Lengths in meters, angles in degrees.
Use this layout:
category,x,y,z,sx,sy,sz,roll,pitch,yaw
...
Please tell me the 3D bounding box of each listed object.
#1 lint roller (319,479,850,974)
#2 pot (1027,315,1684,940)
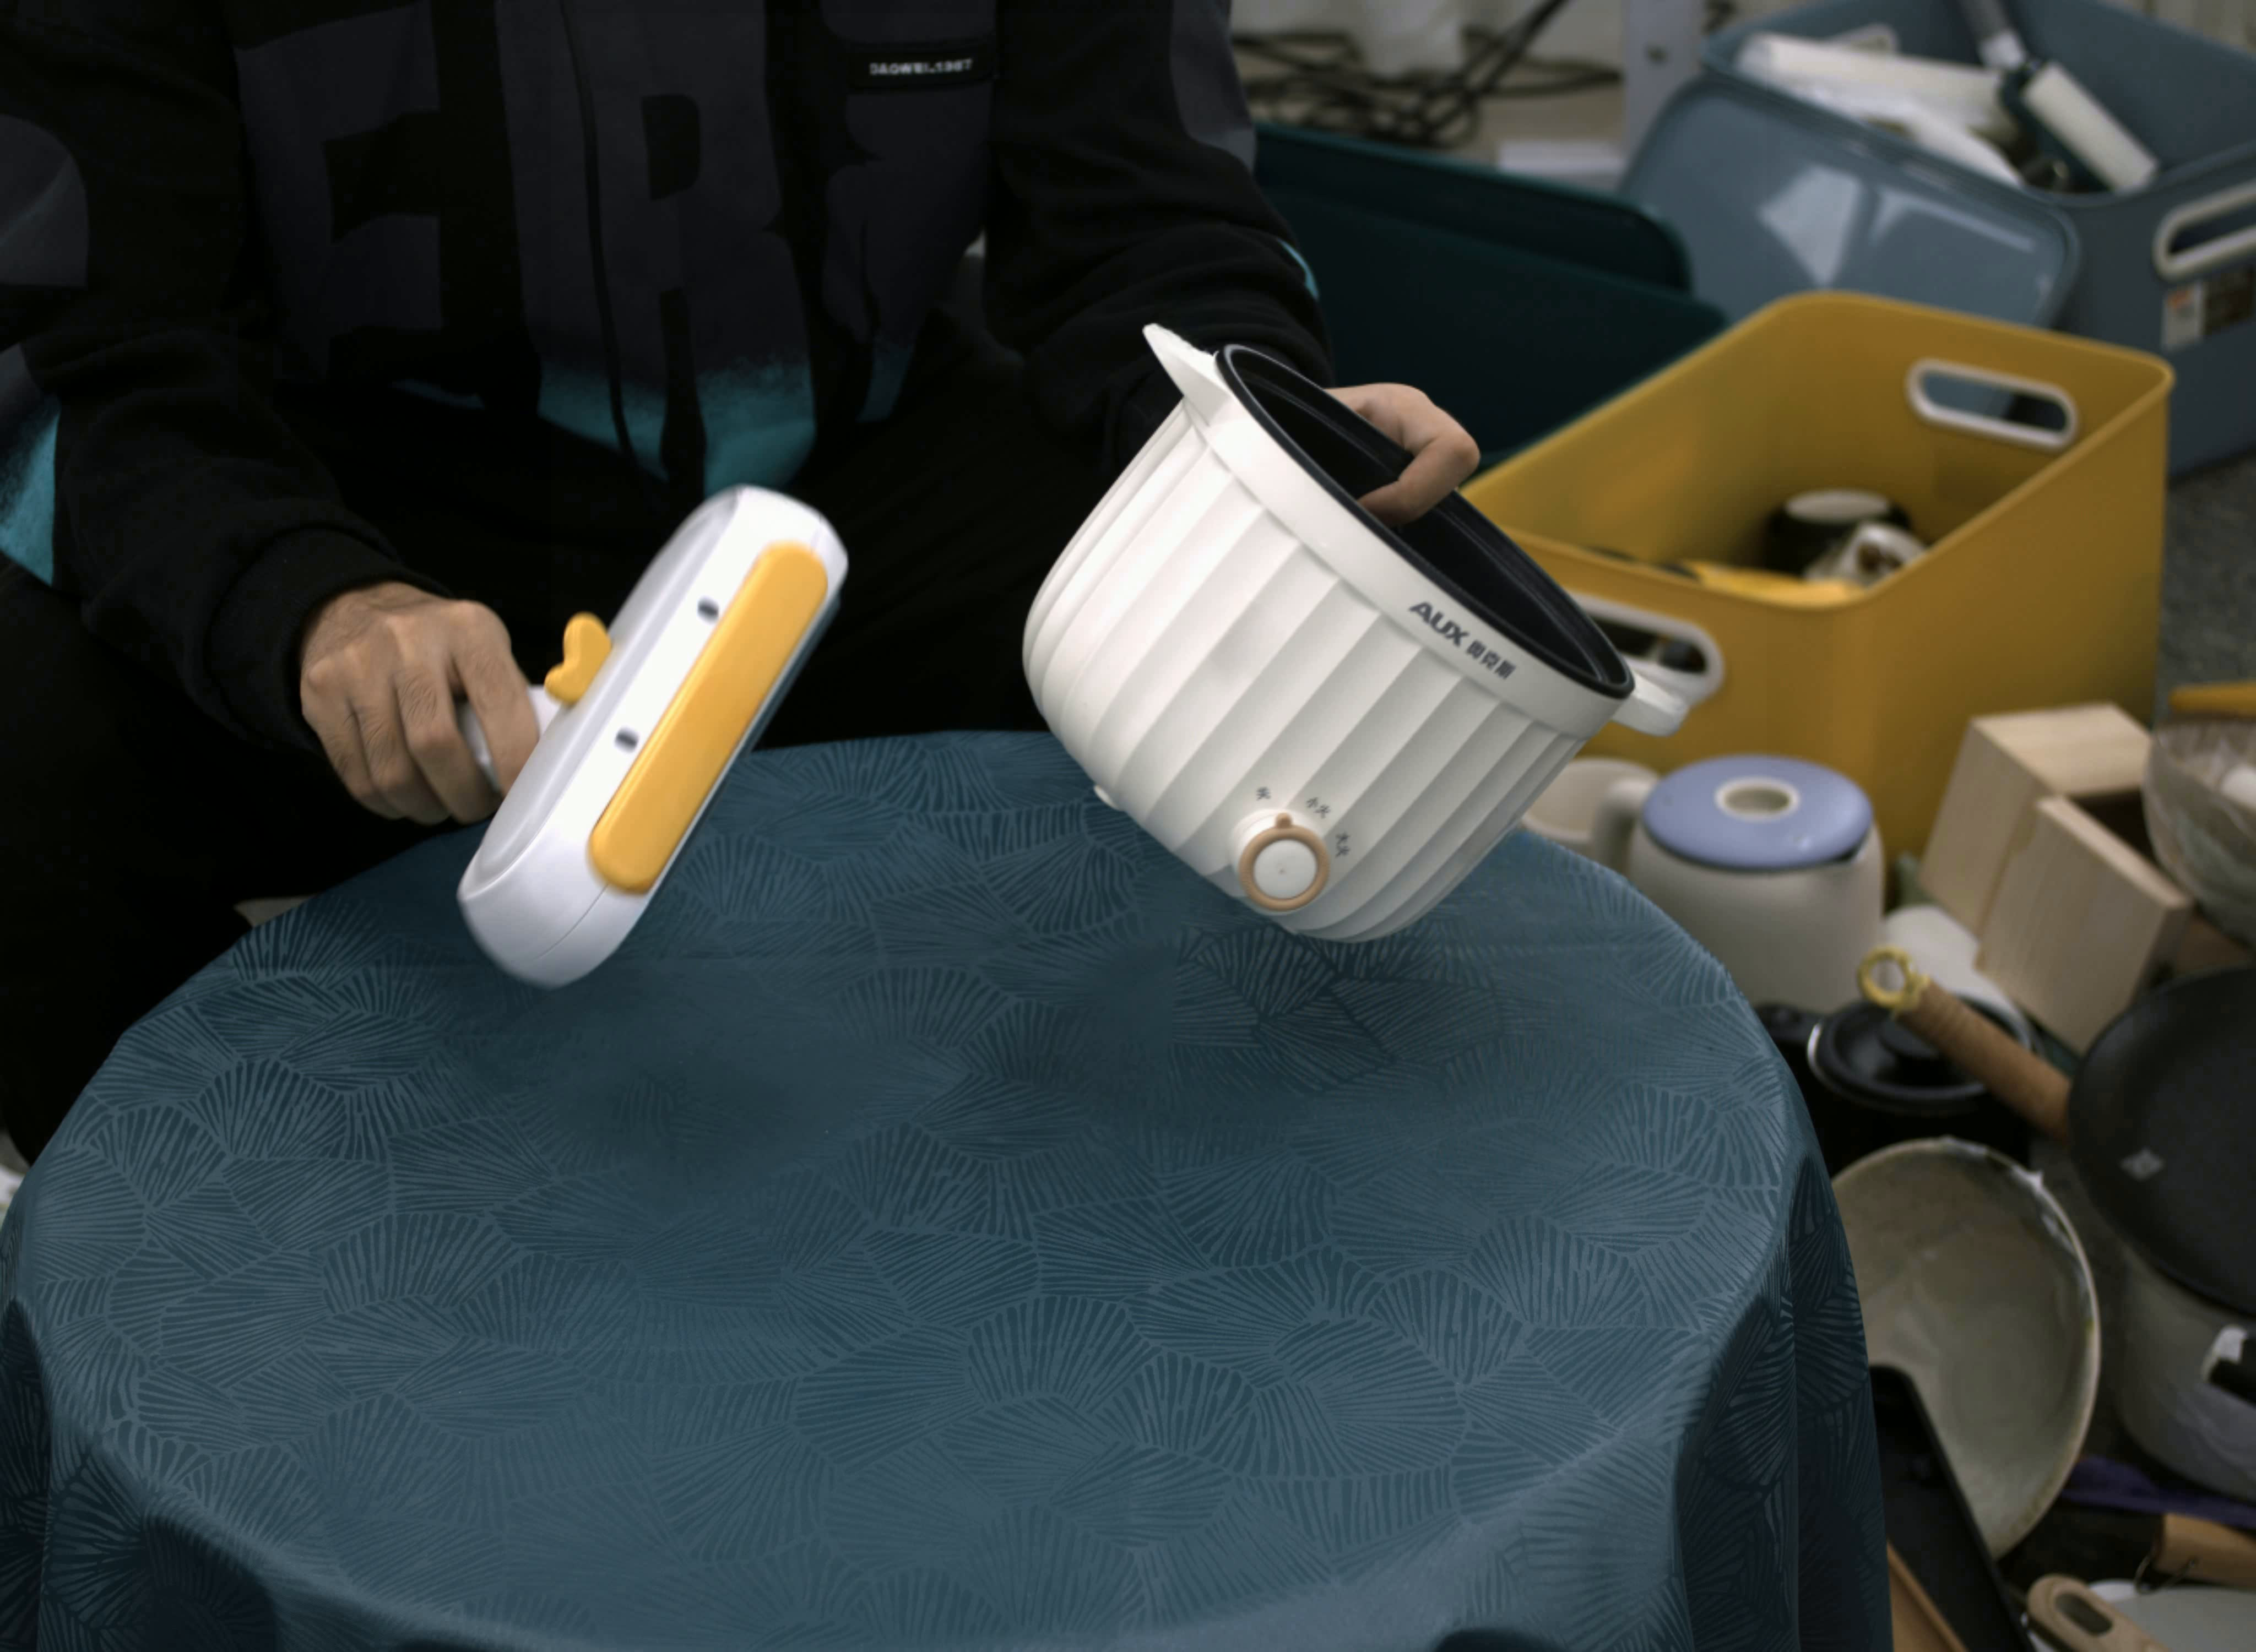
category,x,y,z,sx,sy,sz,roll,pitch,yaw
lint roller,-0.199,-0.030,1.915,0.190,0.074,0.196,-14,42,46
pot,0.063,-0.052,1.901,0.239,0.142,0.192,34,9,-21
